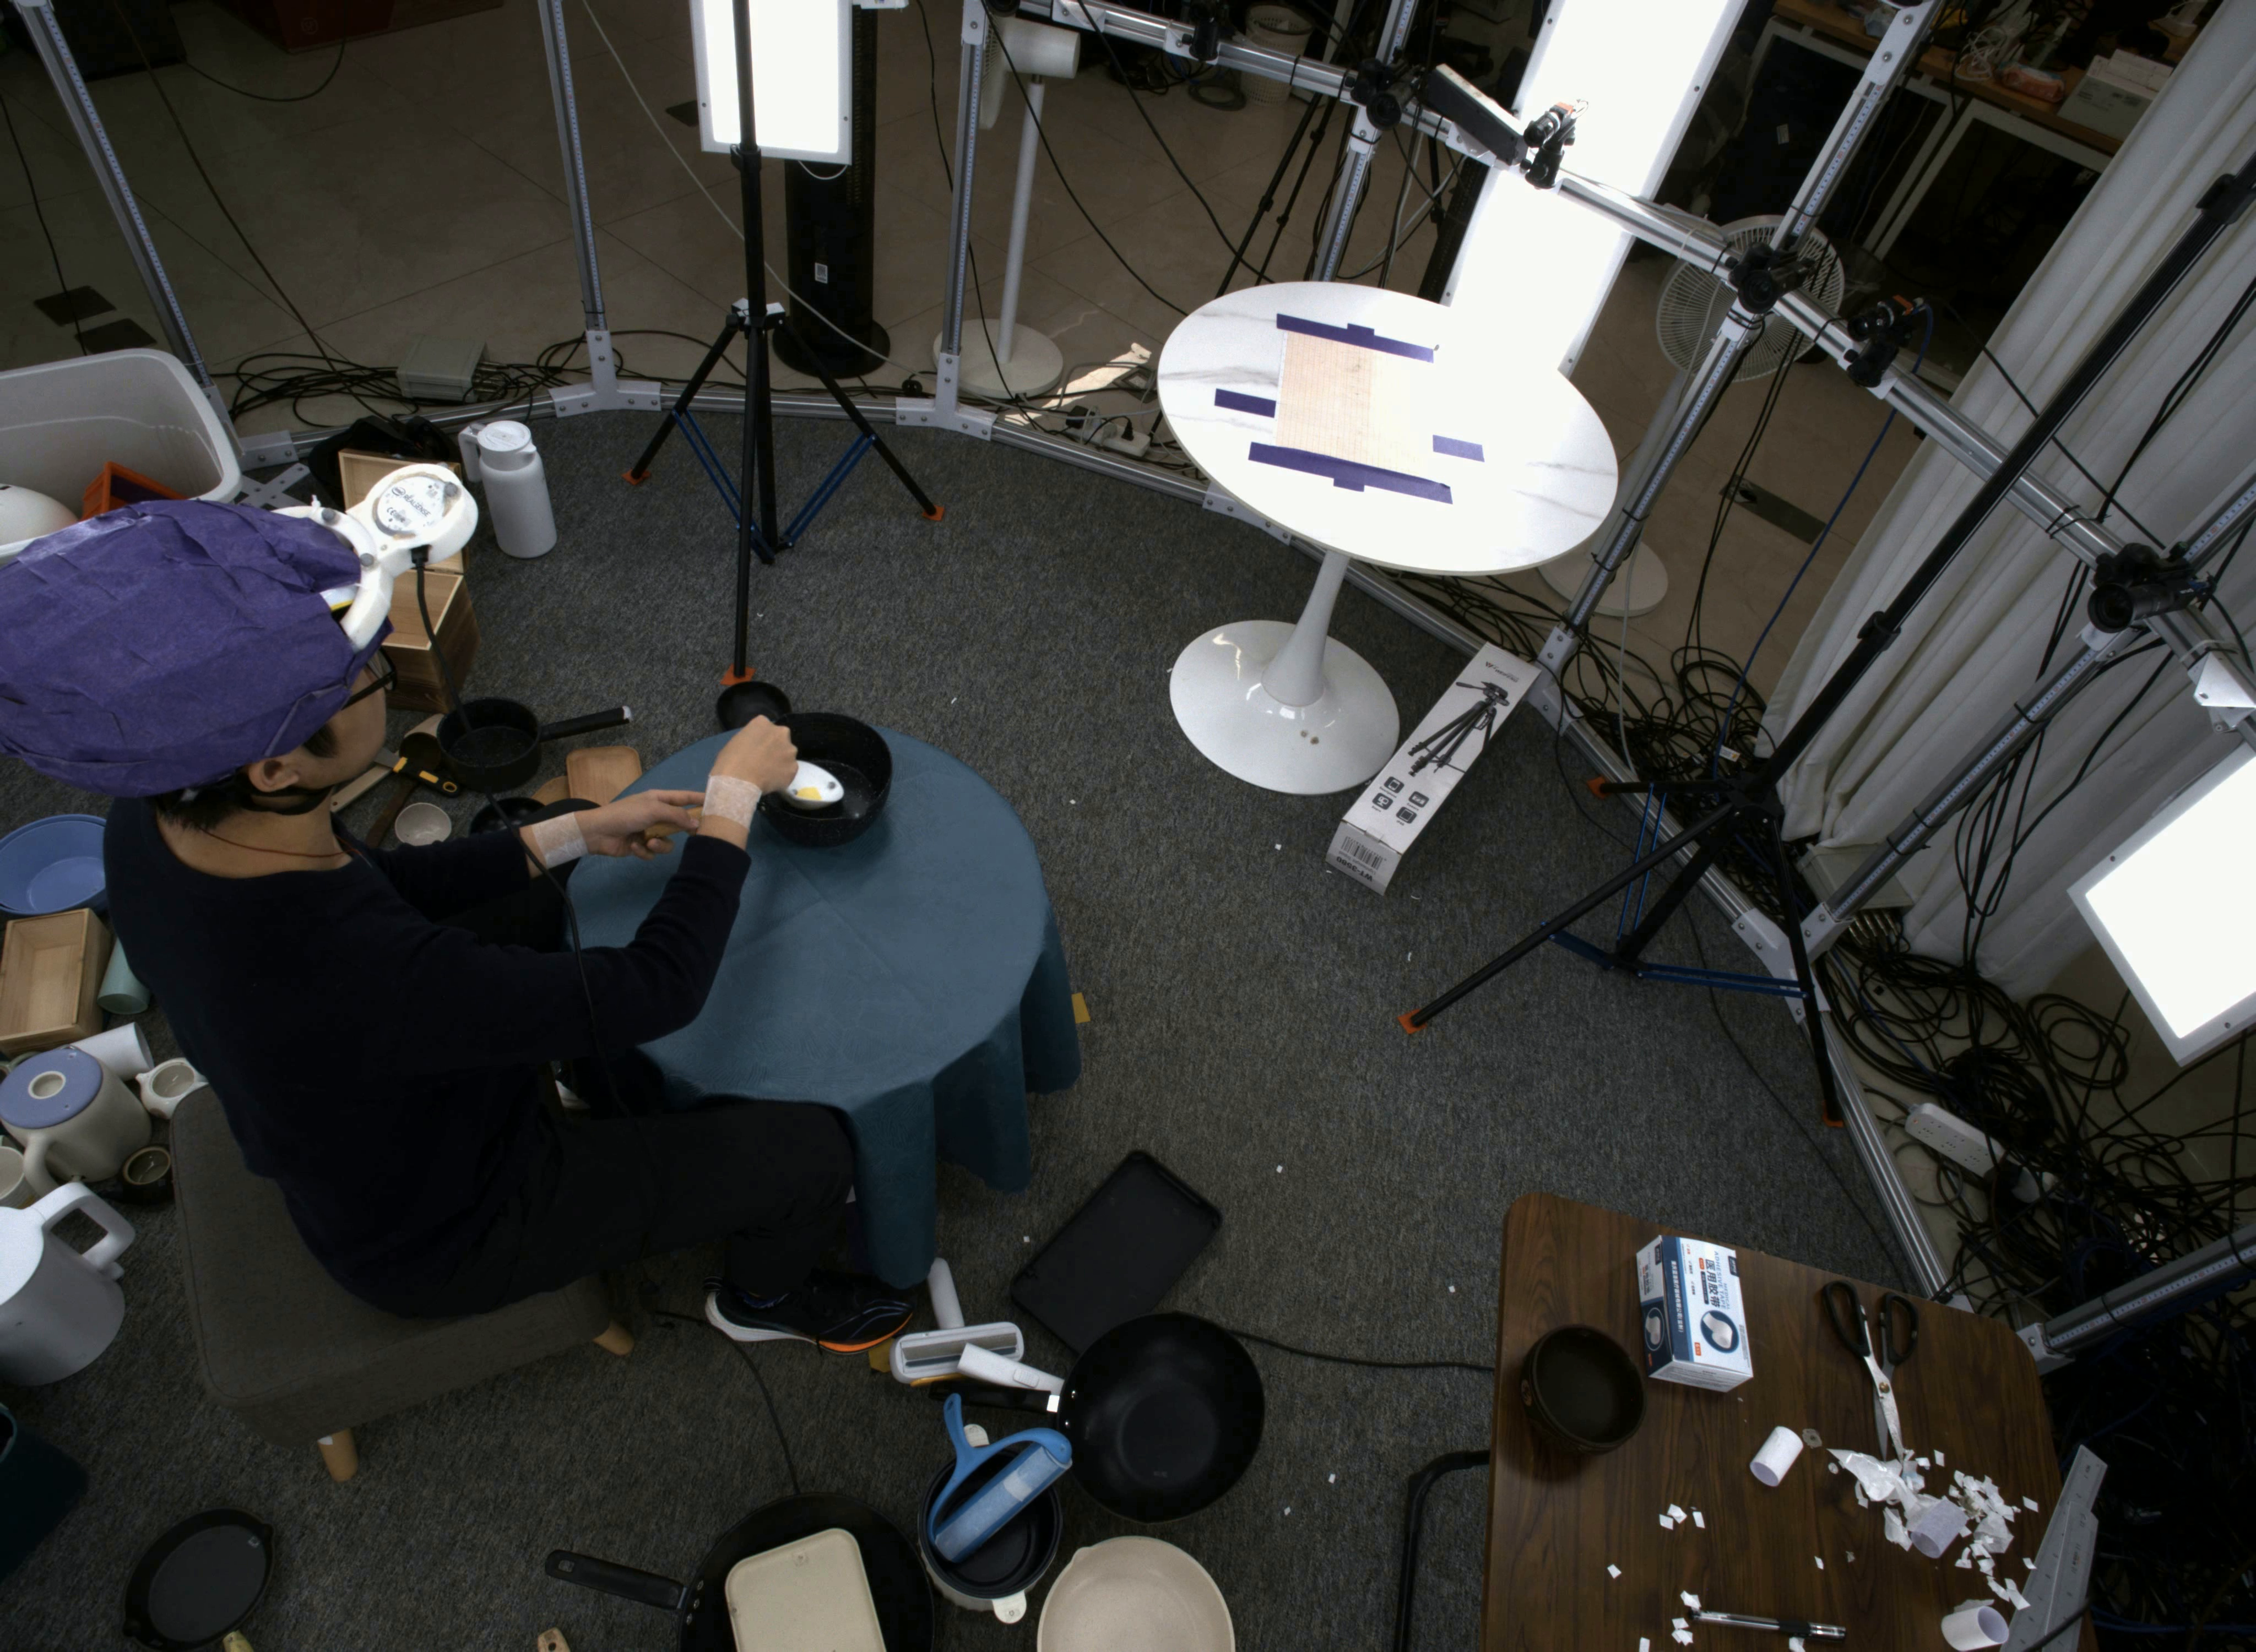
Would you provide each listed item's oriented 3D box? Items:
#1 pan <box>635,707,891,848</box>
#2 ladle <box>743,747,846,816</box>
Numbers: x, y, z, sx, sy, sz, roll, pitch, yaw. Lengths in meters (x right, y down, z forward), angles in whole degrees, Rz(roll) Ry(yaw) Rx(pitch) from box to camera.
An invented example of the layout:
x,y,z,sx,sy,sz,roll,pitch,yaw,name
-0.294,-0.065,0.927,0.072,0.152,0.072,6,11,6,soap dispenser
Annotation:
x,y,z,sx,sy,sz,roll,pitch,yaw,name
-0.465,-0.032,1.657,0.344,0.110,0.203,-28,65,-32,pan
-0.414,-0.064,1.602,0.090,0.294,0.070,43,81,4,ladle
